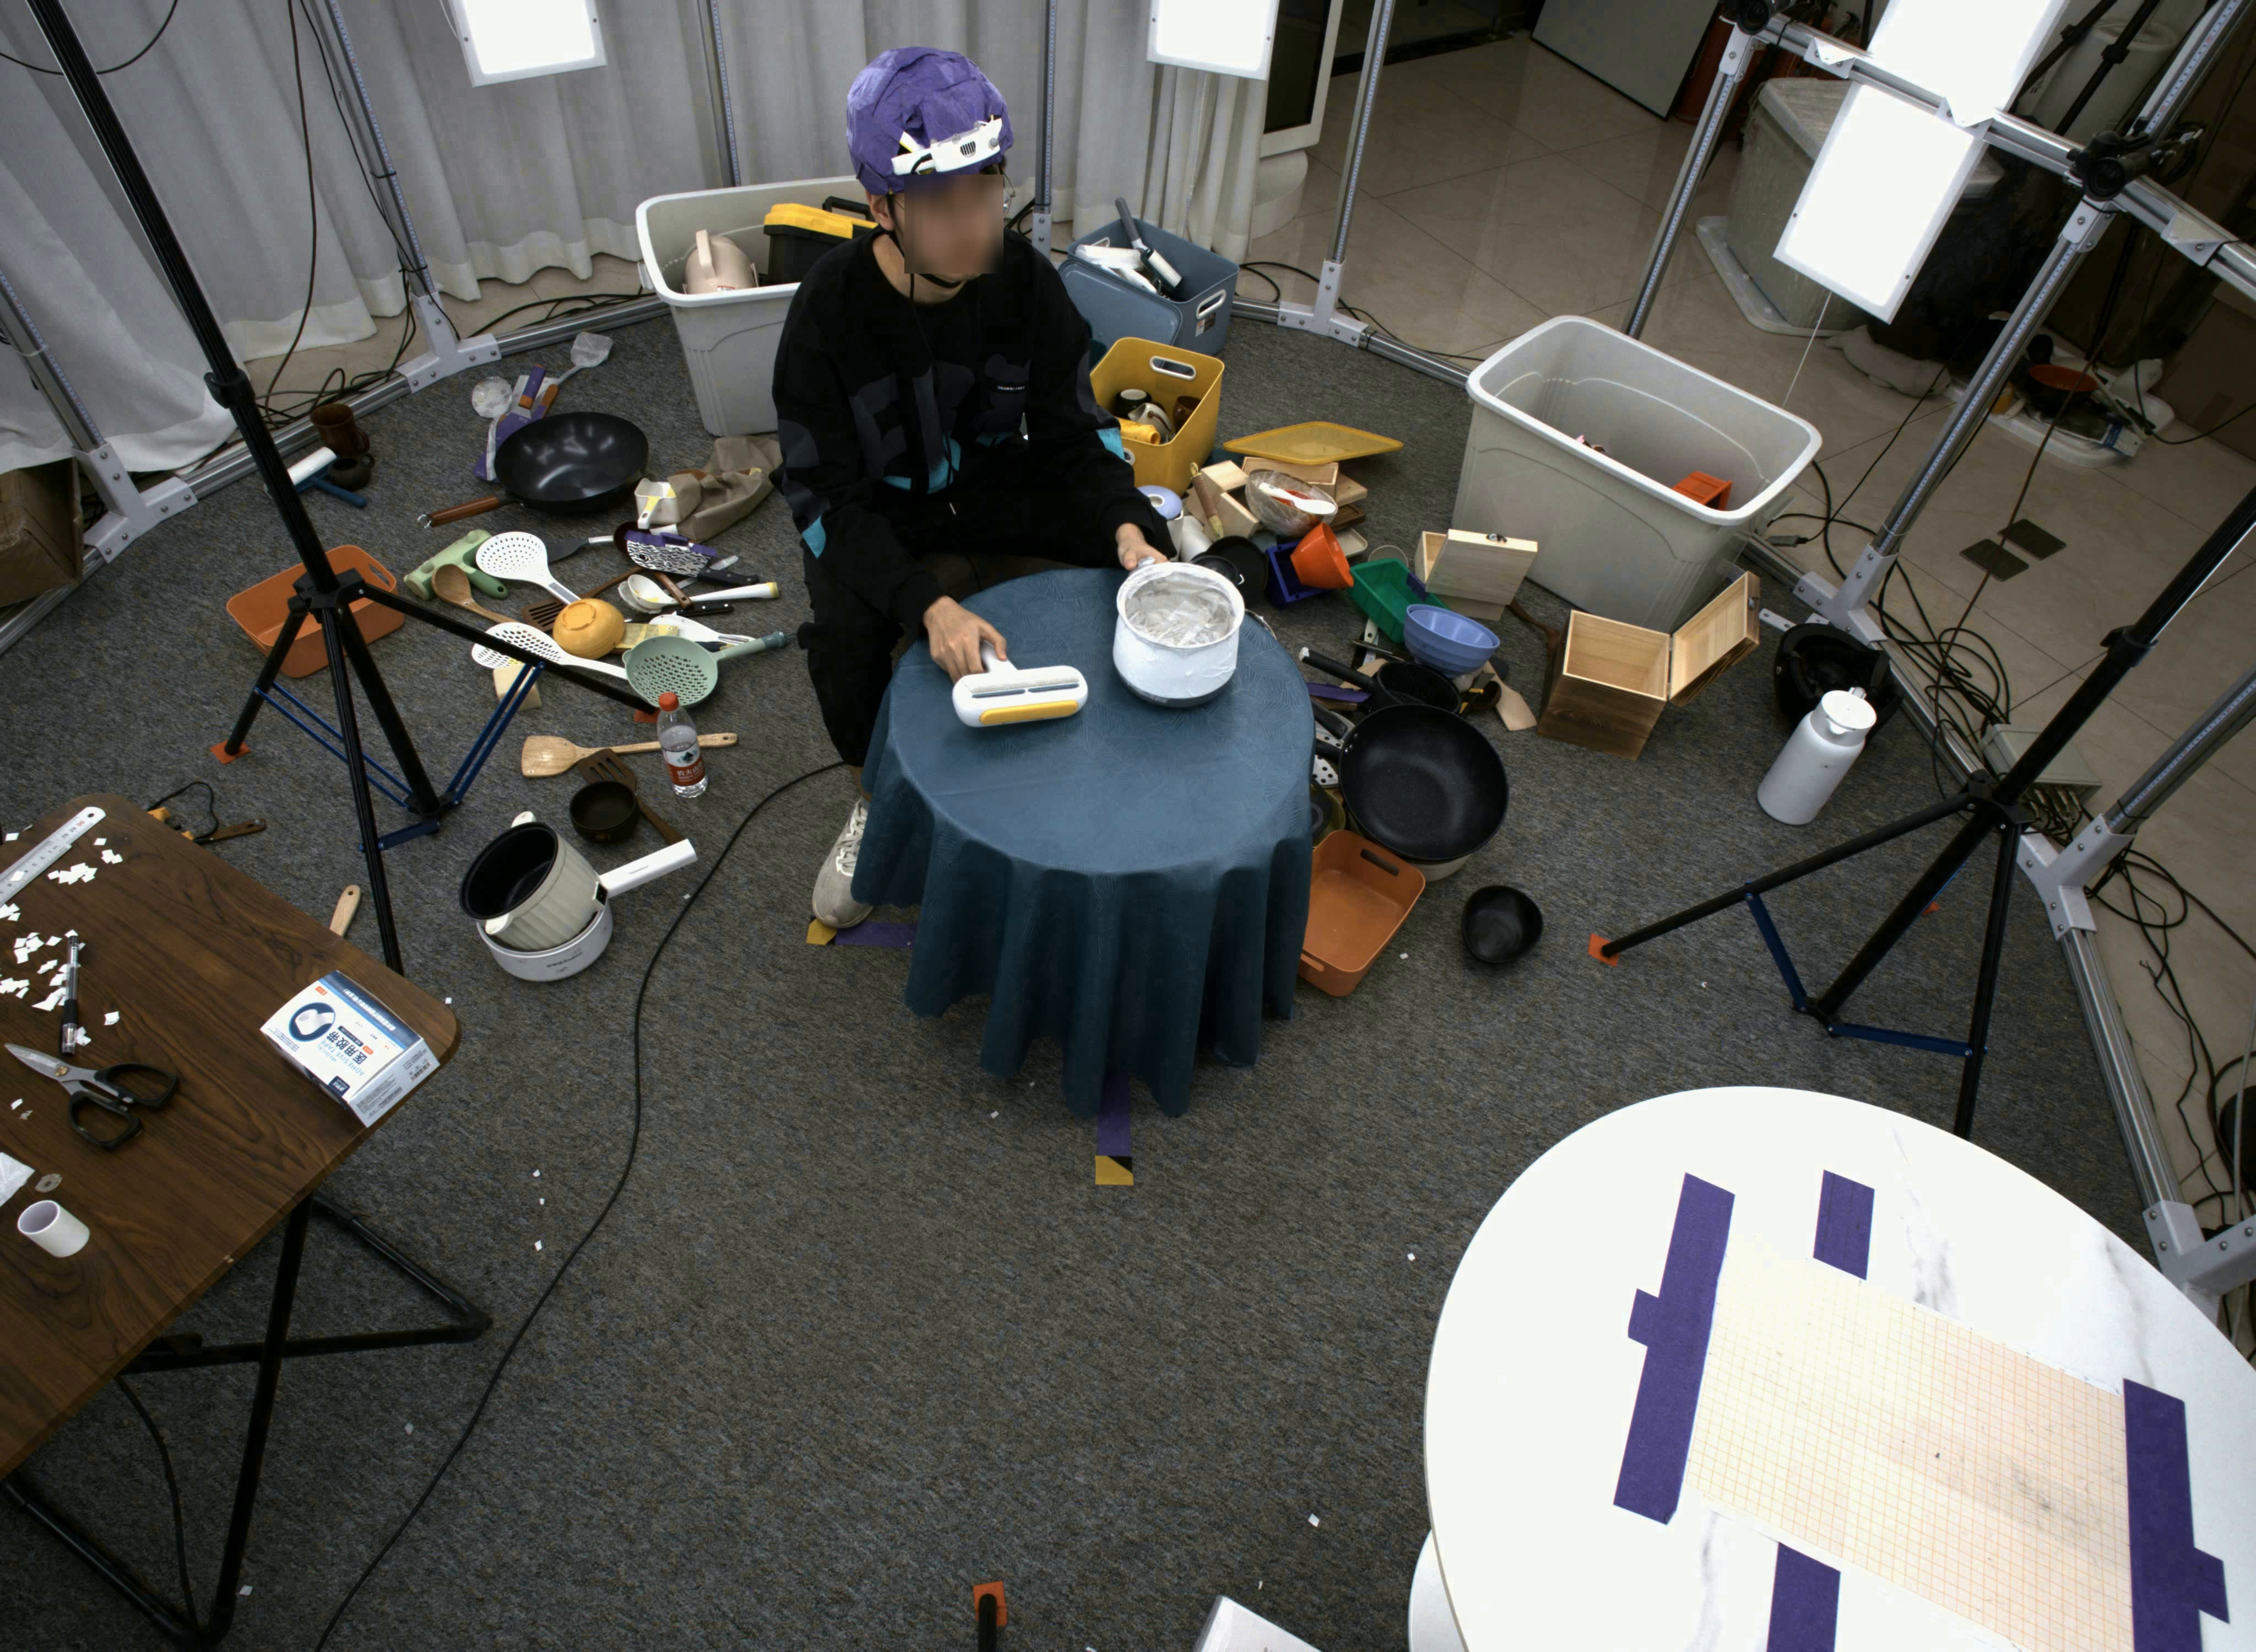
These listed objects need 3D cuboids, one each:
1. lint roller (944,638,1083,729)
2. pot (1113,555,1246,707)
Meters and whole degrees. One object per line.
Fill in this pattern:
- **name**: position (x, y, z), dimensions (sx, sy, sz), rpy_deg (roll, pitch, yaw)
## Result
- **lint roller**: position (-0.176, -0.214, 1.799), dimensions (0.192, 0.072, 0.197), rpy_deg (-9, 48, -21)
- **pot**: position (0.057, -0.287, 1.830), dimensions (0.179, 0.133, 0.239), rpy_deg (-17, 54, -20)
